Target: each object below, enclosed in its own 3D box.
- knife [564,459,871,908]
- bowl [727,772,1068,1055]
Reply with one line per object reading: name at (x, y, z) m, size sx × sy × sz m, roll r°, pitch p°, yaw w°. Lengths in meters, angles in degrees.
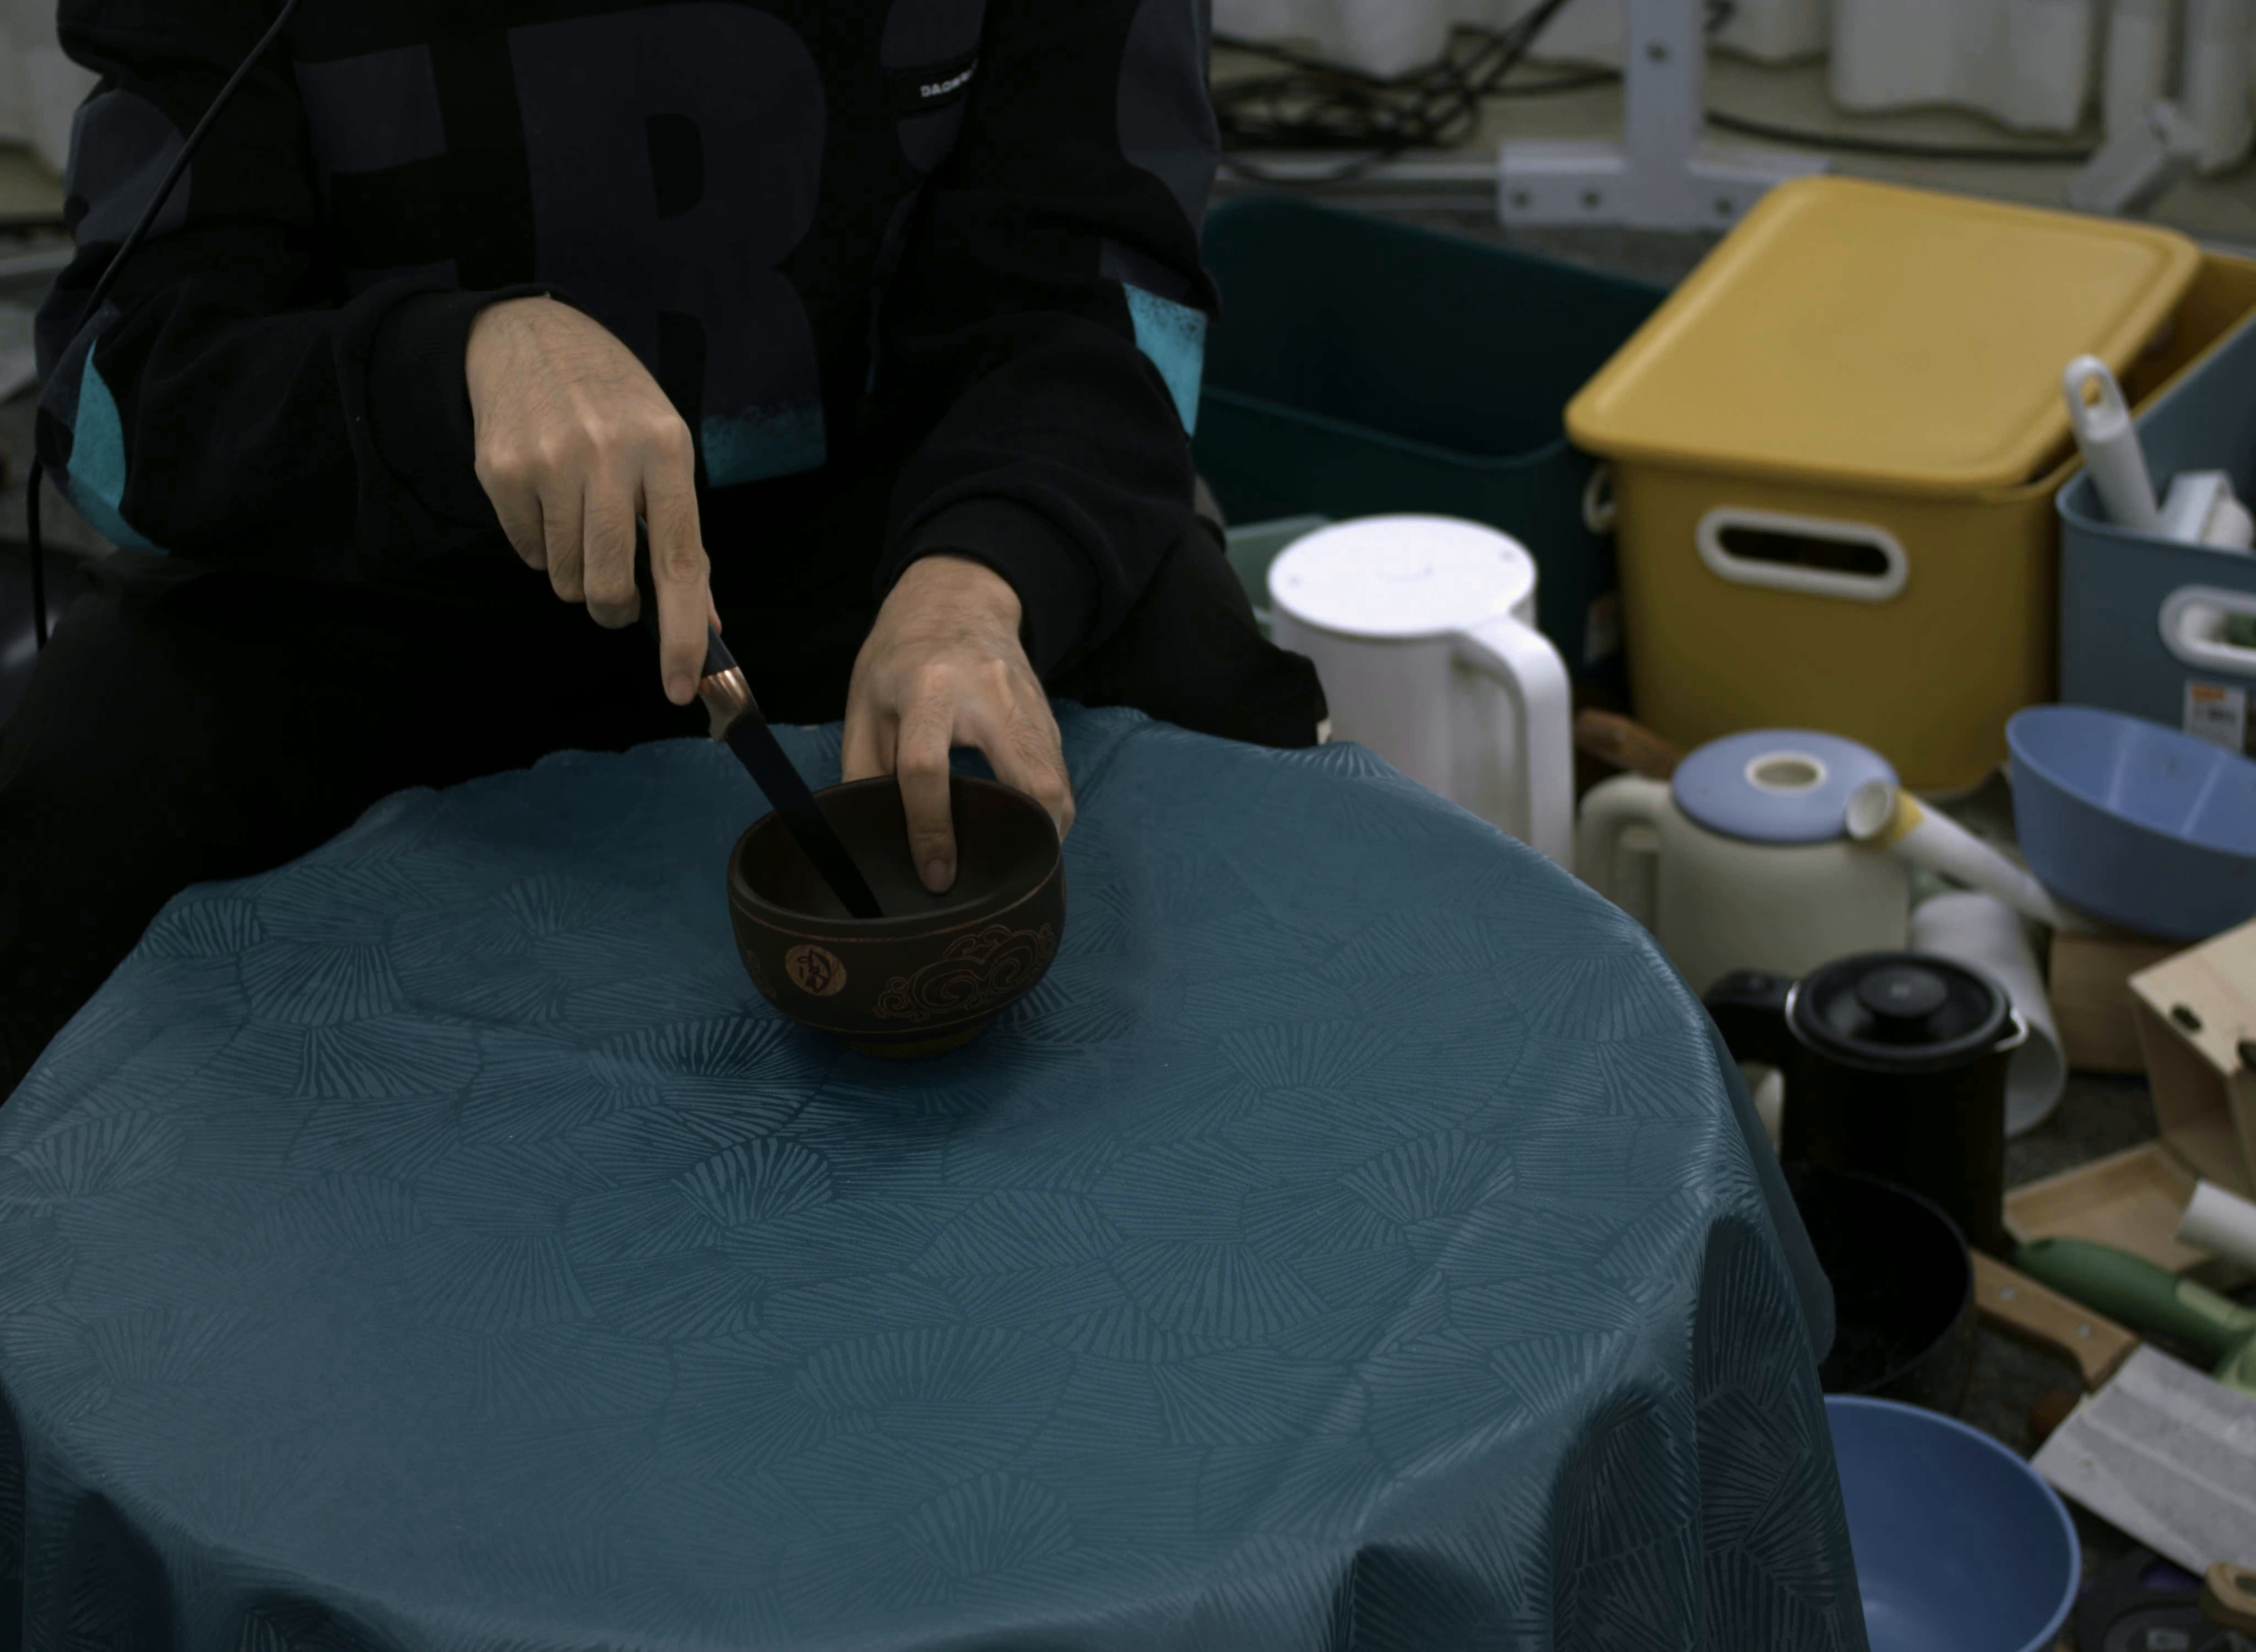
knife at (-0.134, -0.032, 1.969) m, size 0.017 × 0.026 × 0.227 m, roll -20°, pitch 73°, yaw -53°
bowl at (-0.079, 0.036, 1.952) m, size 0.117 × 0.069 × 0.119 m, roll -2°, pitch 24°, yaw 1°
